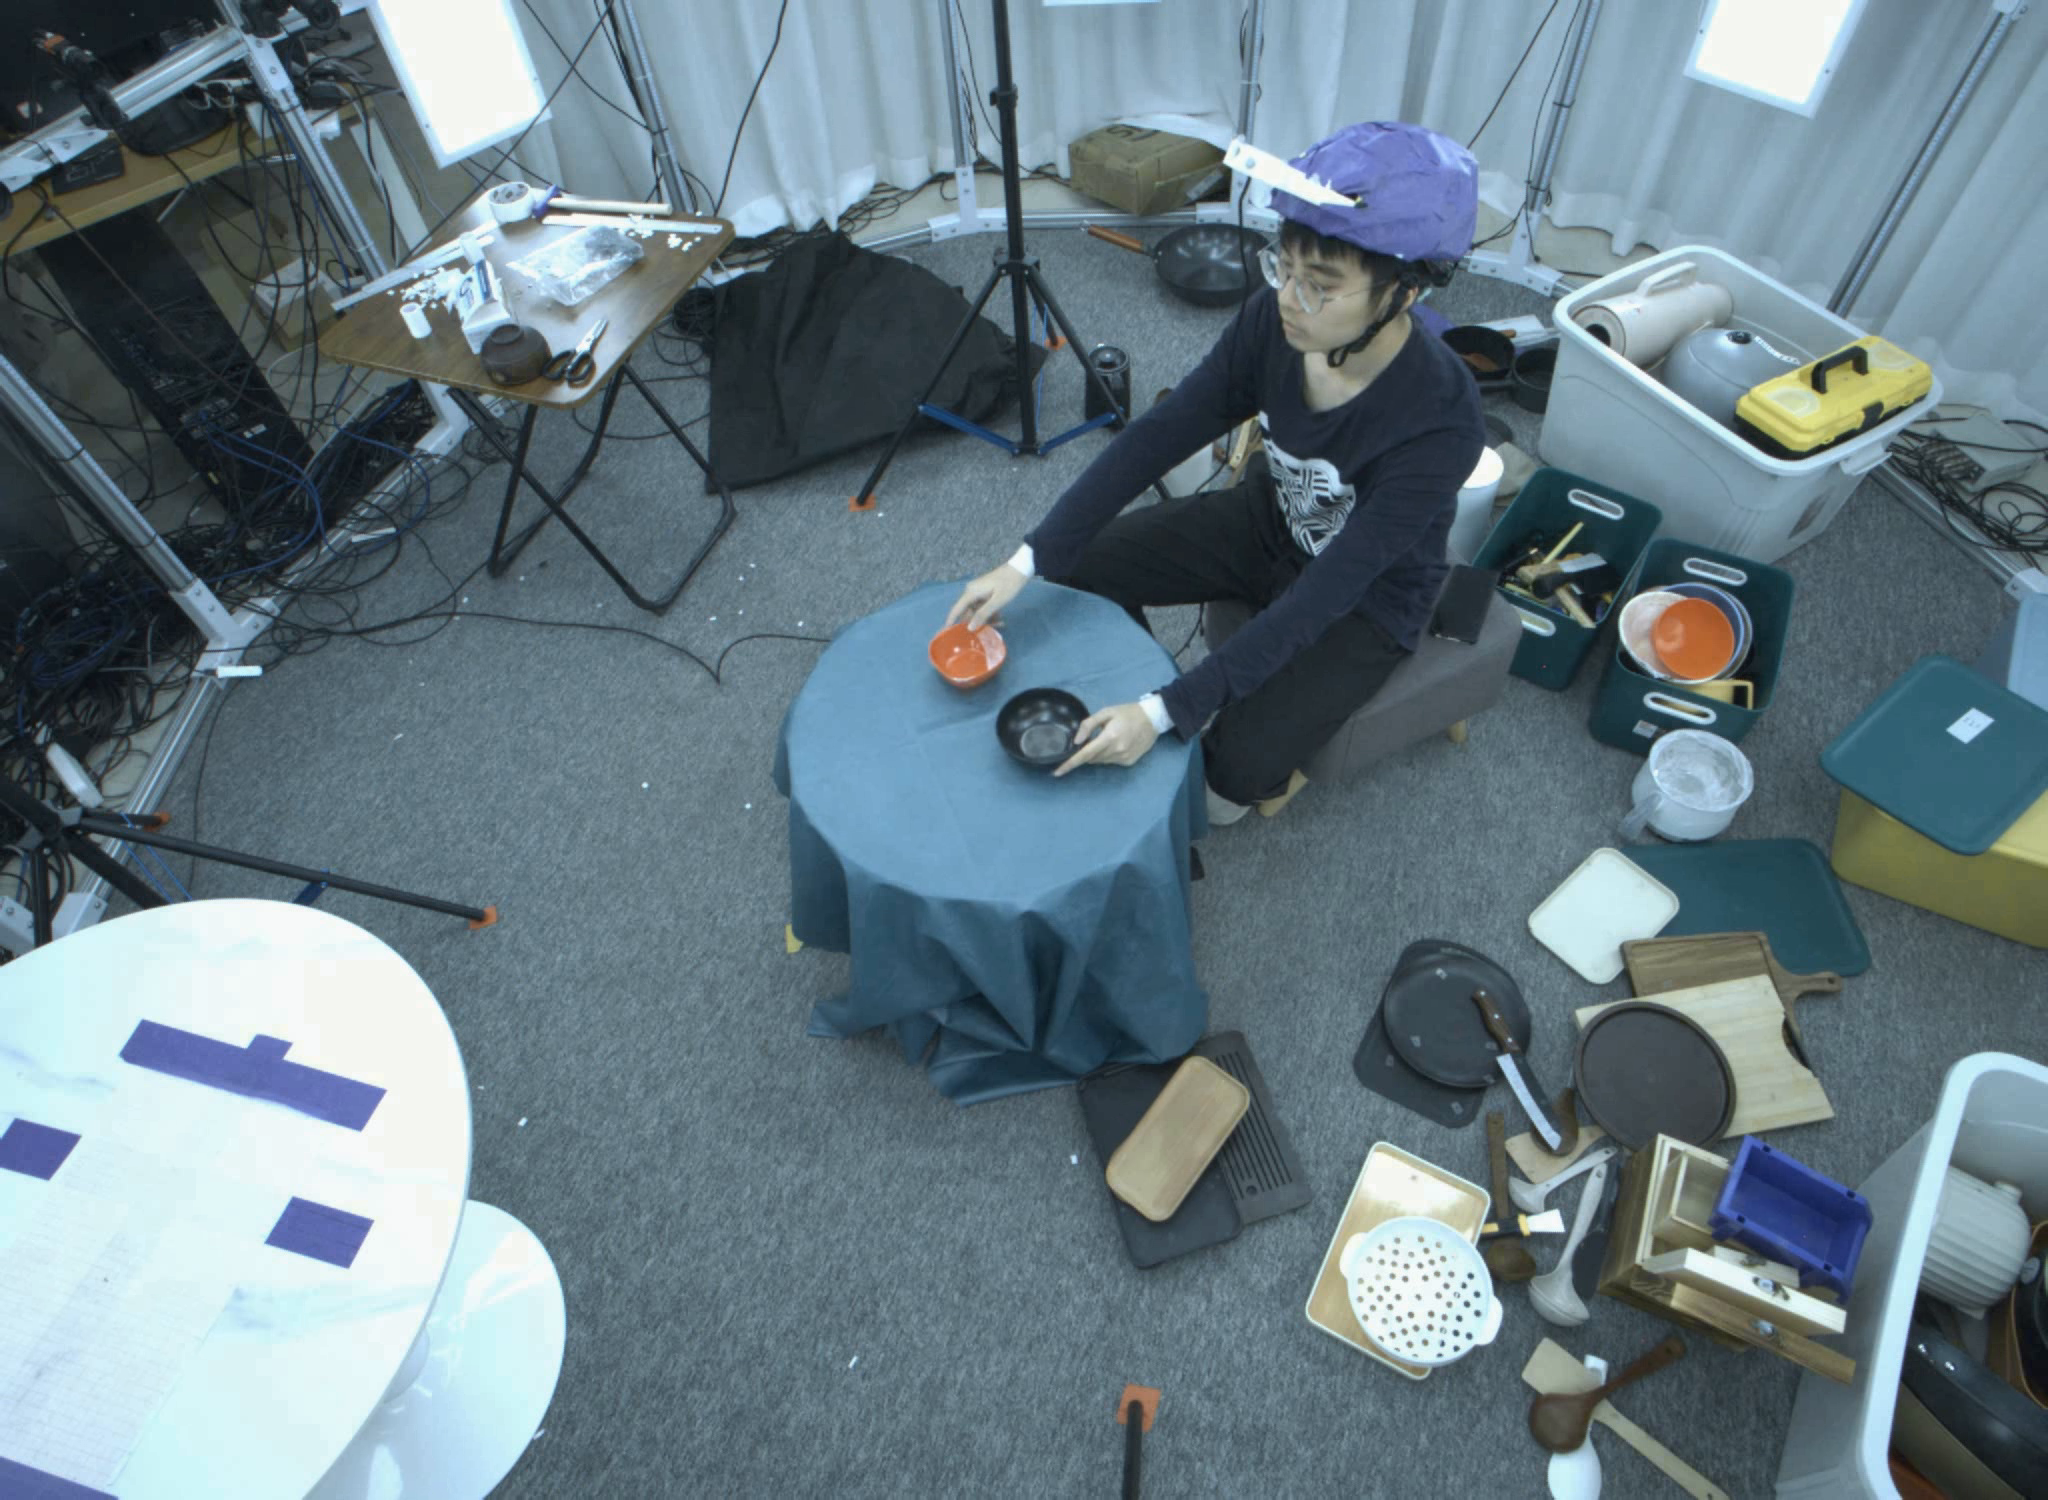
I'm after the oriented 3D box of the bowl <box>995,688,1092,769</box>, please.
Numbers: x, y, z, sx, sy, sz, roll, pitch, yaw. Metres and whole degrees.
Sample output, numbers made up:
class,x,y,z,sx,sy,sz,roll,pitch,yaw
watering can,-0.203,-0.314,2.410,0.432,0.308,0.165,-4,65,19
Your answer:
class,x,y,z,sx,sy,sz,roll,pitch,yaw
bowl,0.028,-0.023,1.783,0.140,0.050,0.138,2,52,-1

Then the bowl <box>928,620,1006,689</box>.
class,x,y,z,sx,sy,sz,roll,pitch,yaw
bowl,-0.084,-0.138,1.863,0.119,0.052,0.117,-1,54,3
